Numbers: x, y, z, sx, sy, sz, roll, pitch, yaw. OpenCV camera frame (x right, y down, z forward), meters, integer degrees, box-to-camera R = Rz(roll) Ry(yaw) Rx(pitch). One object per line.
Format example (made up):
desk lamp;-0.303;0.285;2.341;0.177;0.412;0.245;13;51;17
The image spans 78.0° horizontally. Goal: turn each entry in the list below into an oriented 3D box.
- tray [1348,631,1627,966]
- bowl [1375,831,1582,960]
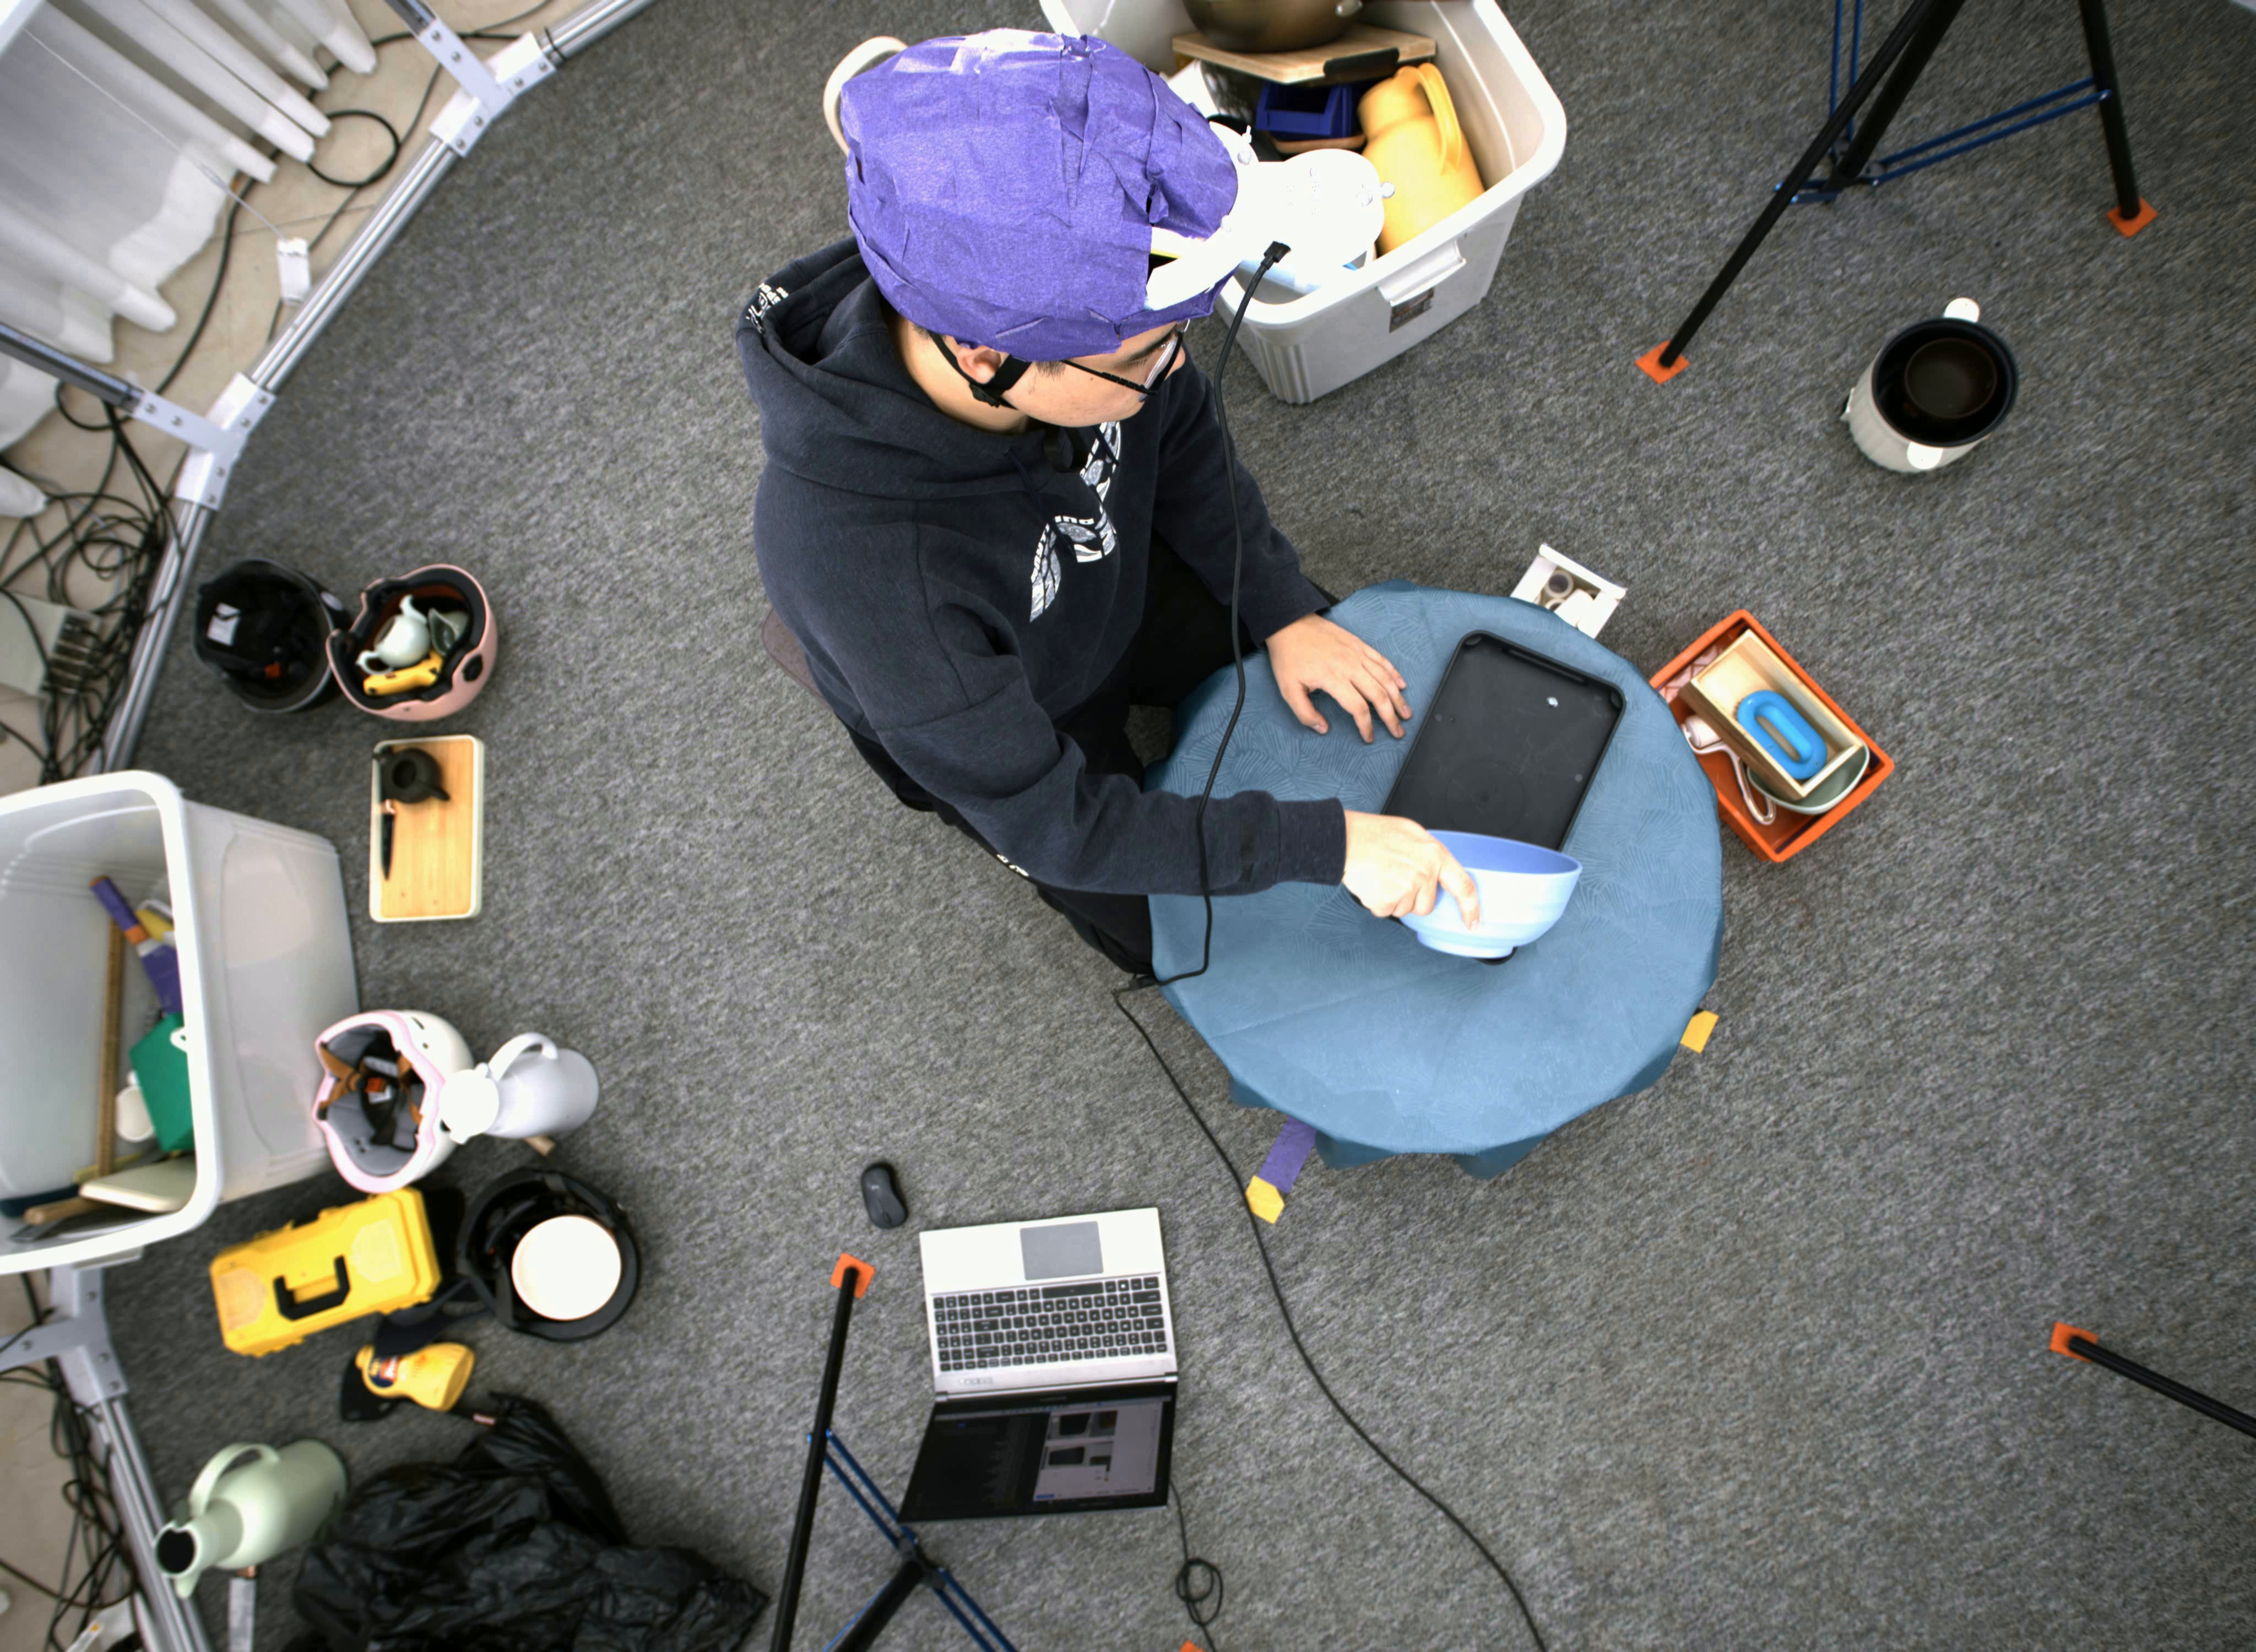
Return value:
tray;0.372;-0.031;1.428;0.184;0.037;0.318;25;91;12
bowl;0.332;0.070;1.337;0.197;0.194;0.096;8;102;11
